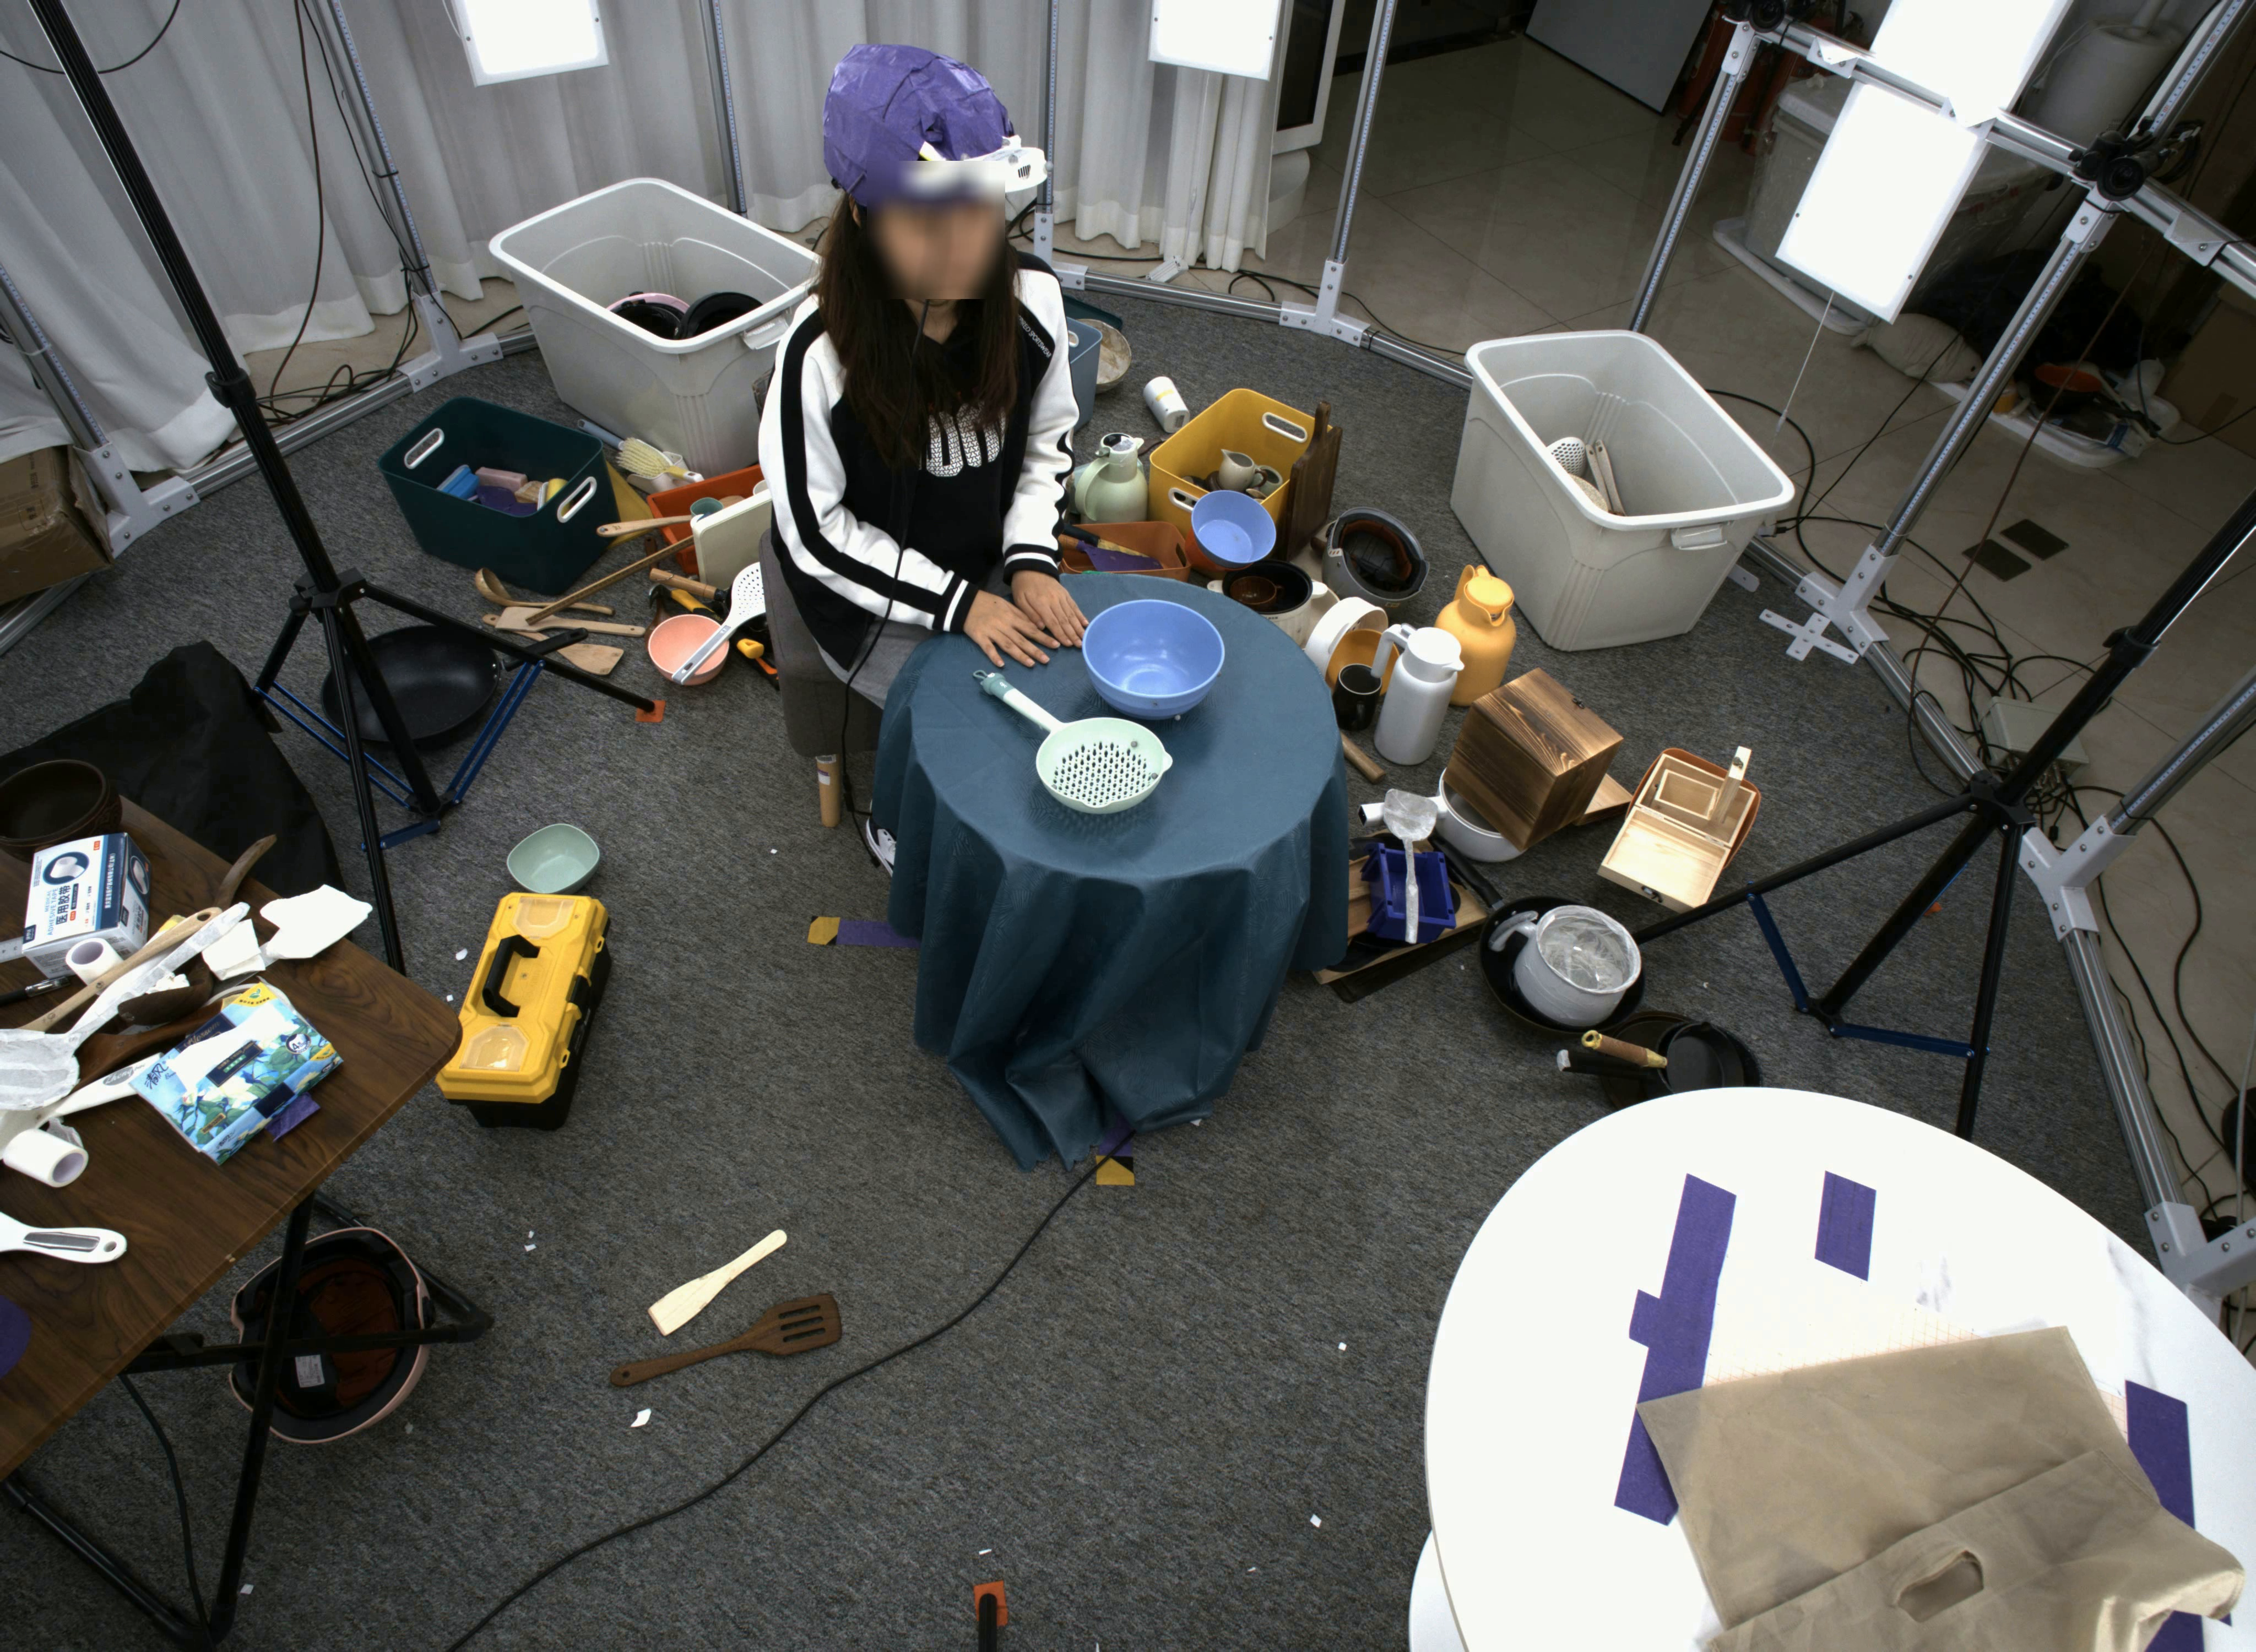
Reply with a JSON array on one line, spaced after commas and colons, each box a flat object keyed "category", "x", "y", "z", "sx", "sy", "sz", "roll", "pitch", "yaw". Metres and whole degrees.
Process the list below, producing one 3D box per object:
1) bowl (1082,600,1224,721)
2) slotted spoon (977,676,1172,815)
[{"category": "bowl", "x": 0.032, "y": -0.217, "z": 1.799, "sx": 0.196, "sy": 0.093, "sz": 0.201, "roll": 2, "pitch": 50, "yaw": -2}, {"category": "slotted spoon", "x": -0.098, "y": -0.127, "z": 1.736, "sx": 0.170, "sy": 0.073, "sz": 0.365, "roll": -30, "pitch": 56, "yaw": -27}]
